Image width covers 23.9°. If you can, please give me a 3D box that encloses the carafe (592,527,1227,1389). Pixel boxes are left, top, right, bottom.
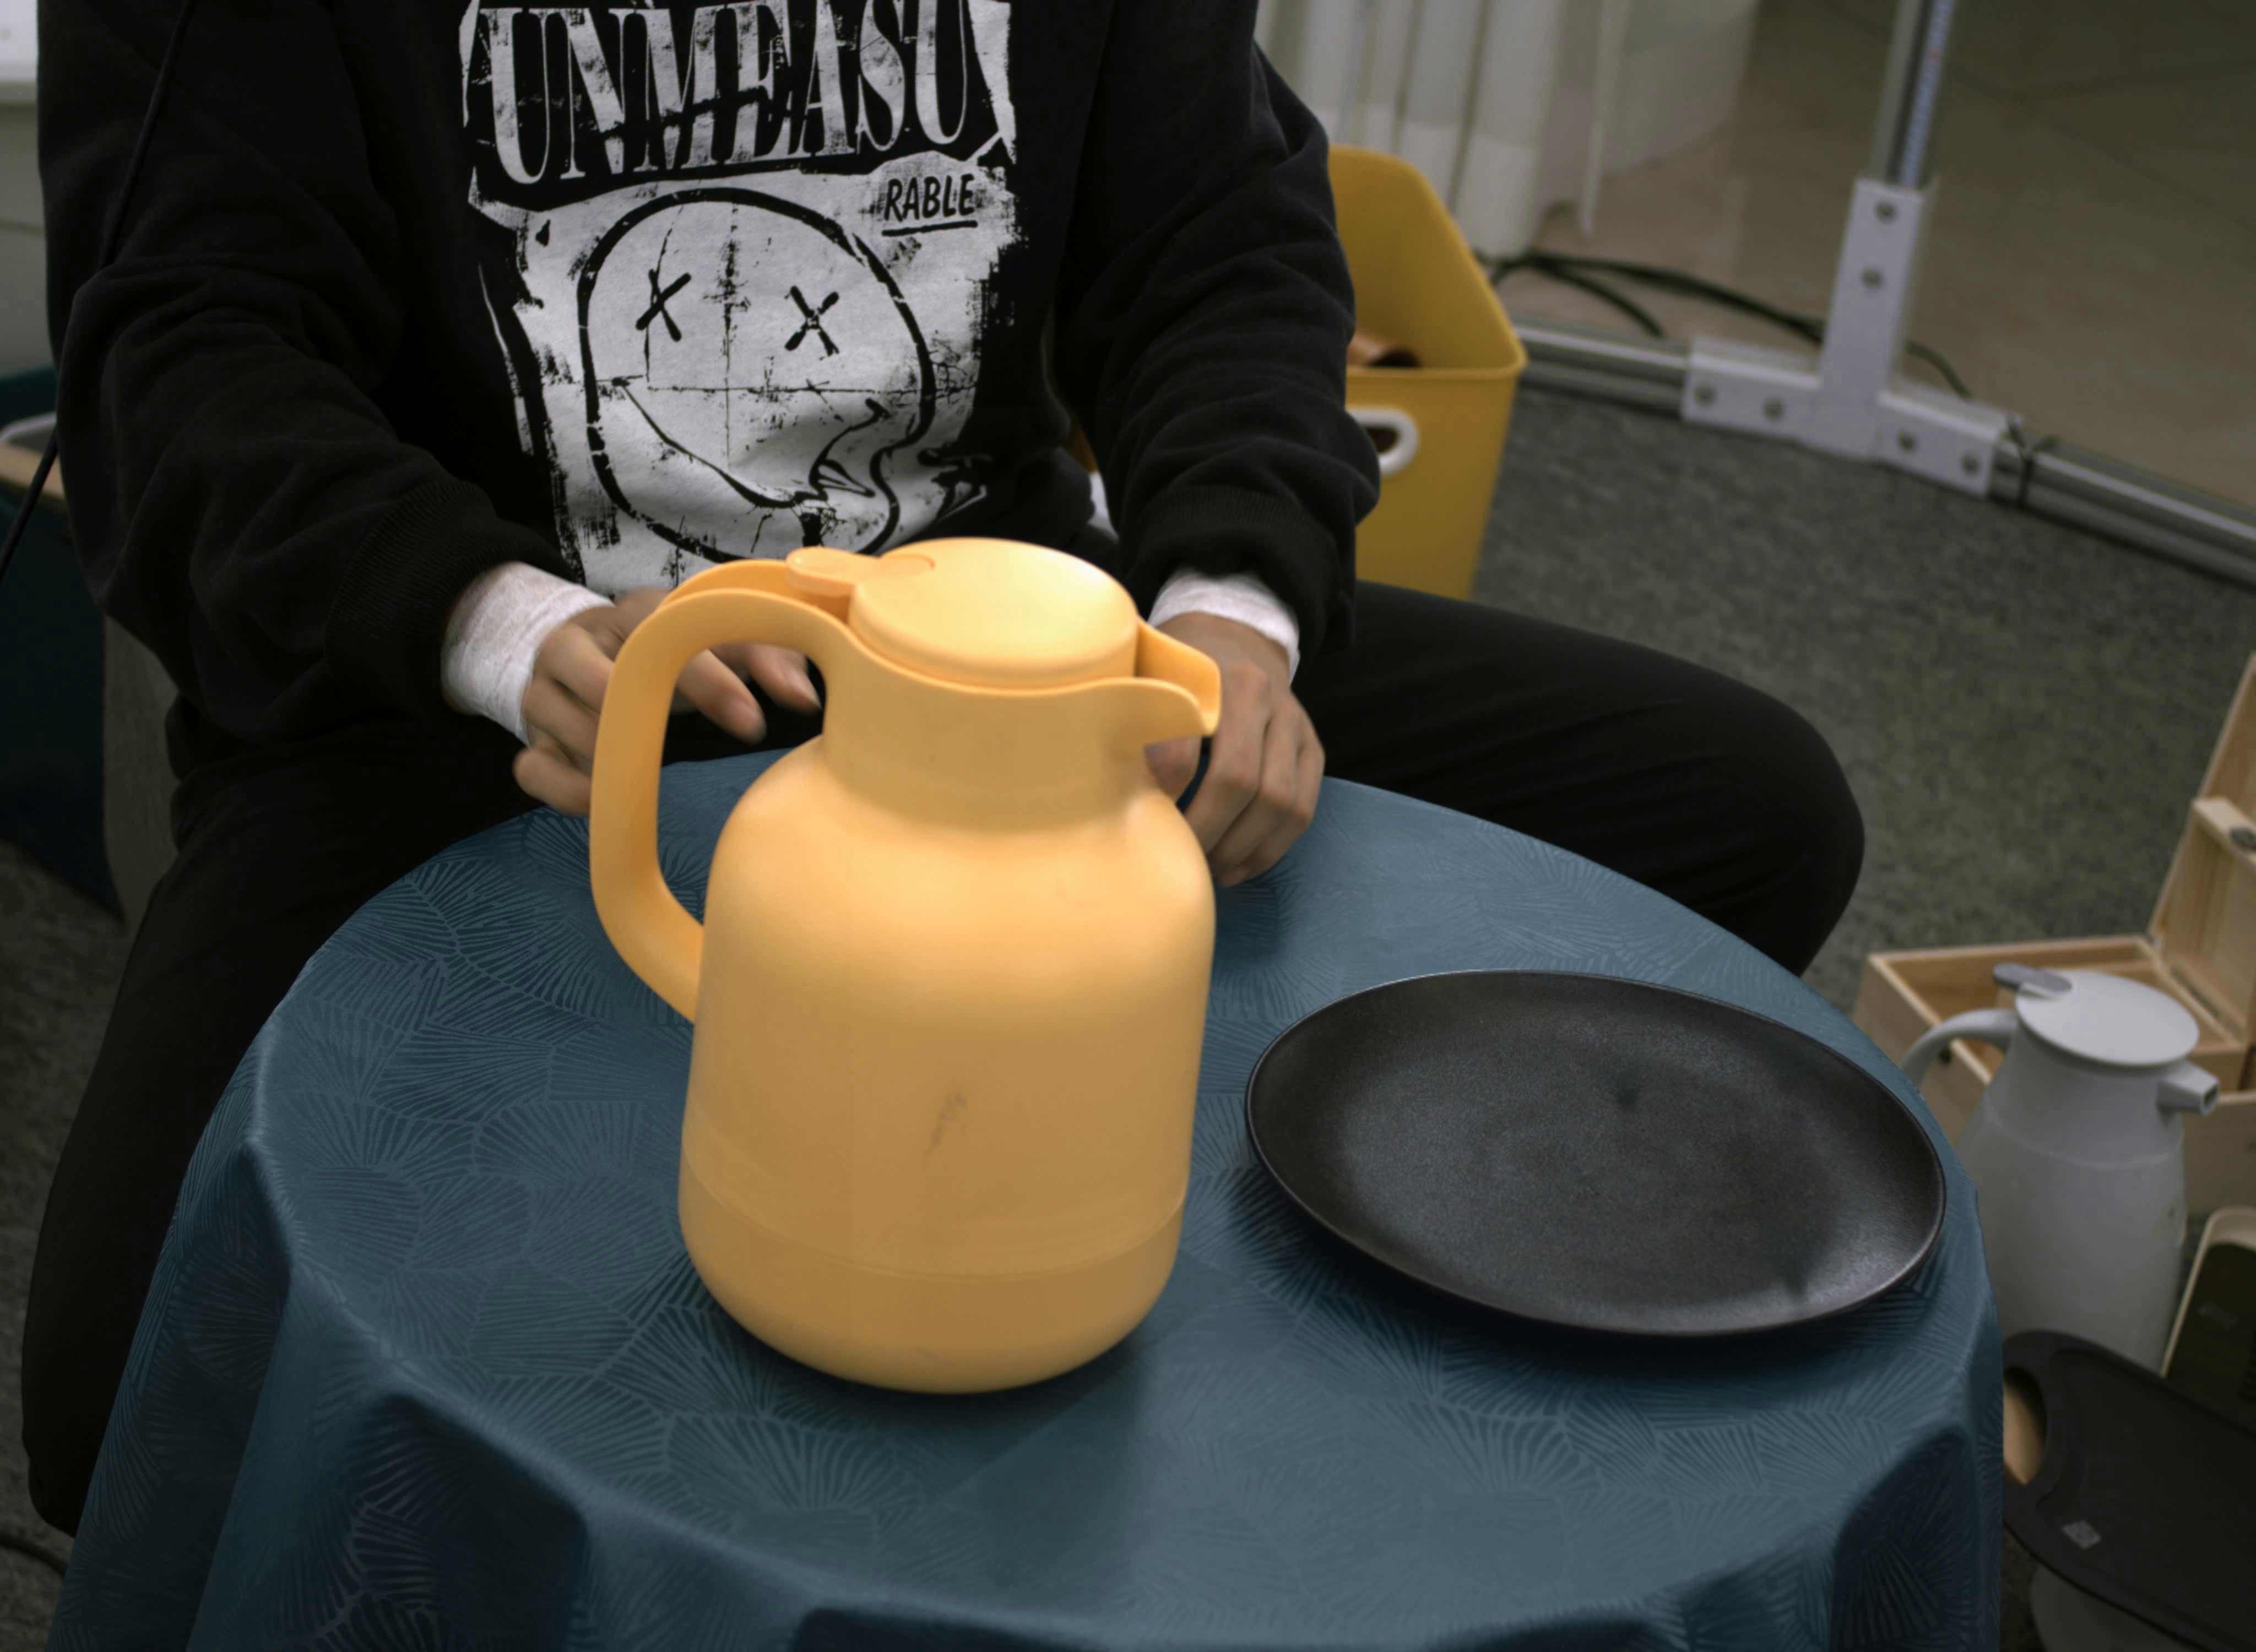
[{"bbox_3d":[-0.074,0.031,1.680,0.203,0.260,0.163,16,25,14],"label":"carafe"}]

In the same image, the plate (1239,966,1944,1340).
[{"bbox_3d":[0.158,0.117,1.828,0.243,0.023,0.246,5,27,-3],"label":"plate"}]
